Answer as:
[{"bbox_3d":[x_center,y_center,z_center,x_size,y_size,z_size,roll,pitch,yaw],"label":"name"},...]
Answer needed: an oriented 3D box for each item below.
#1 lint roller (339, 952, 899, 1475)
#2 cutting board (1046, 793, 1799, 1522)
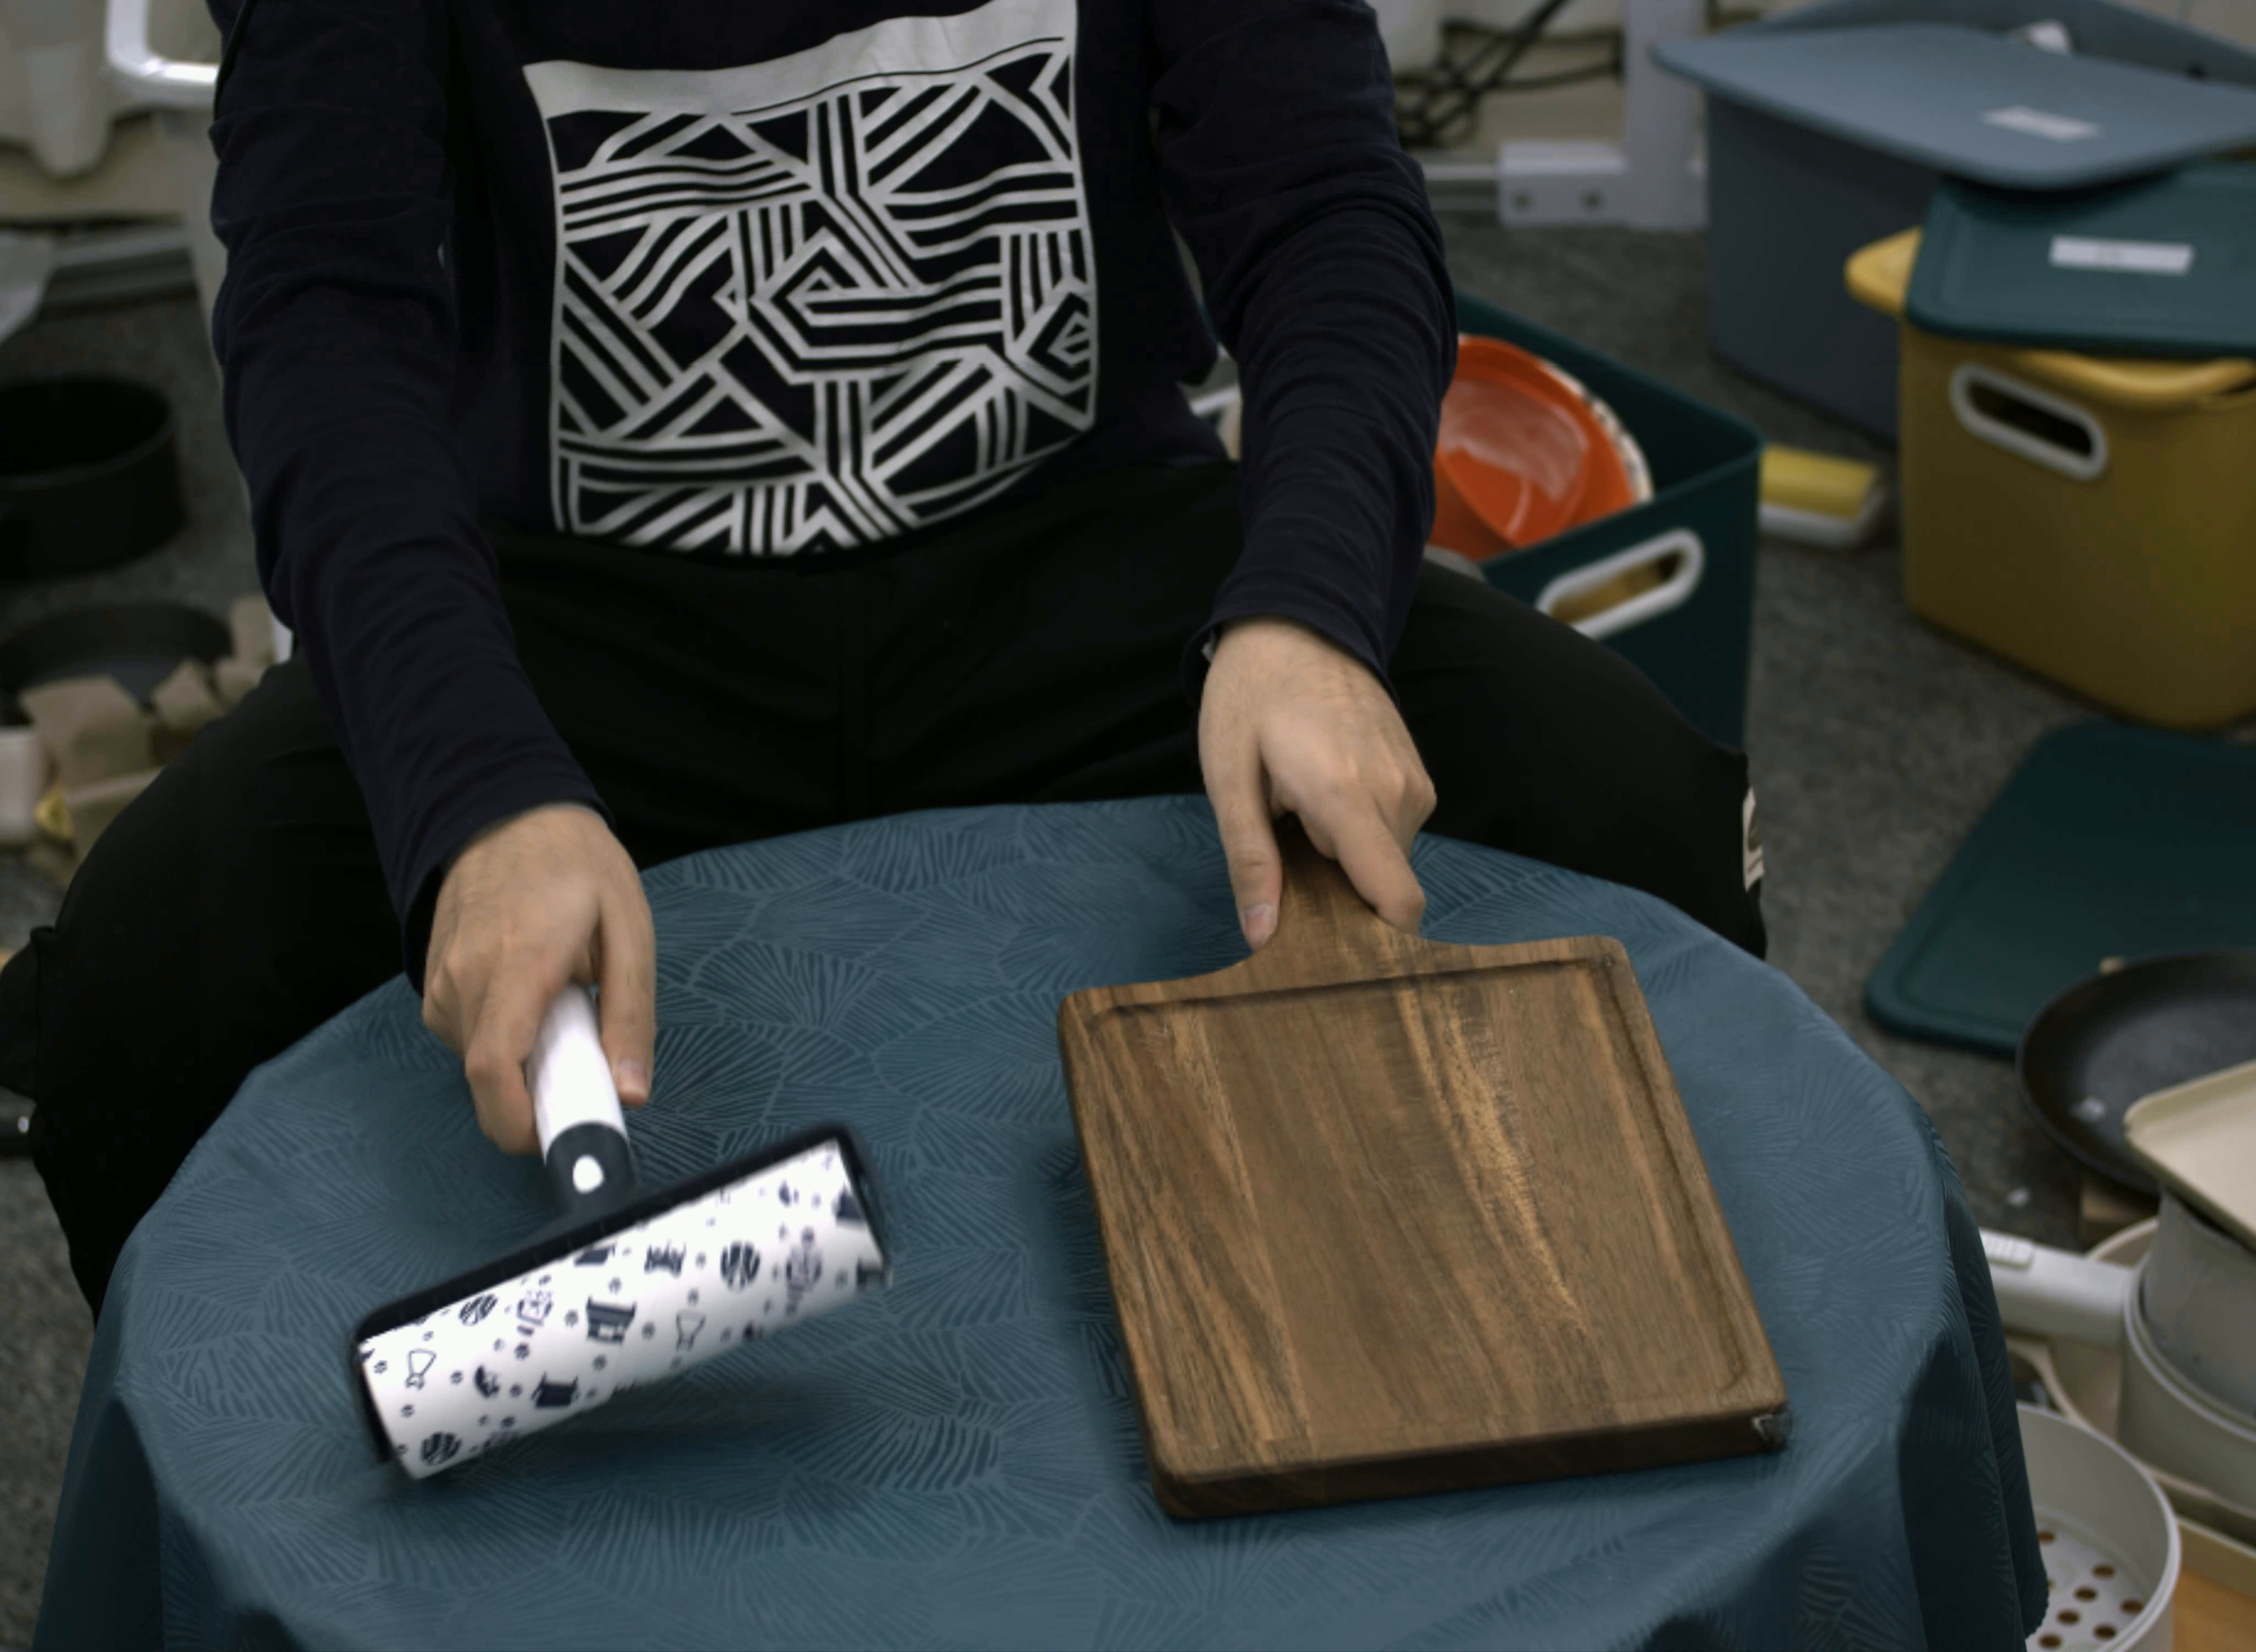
[{"bbox_3d":[-0.179,0.103,1.813,0.176,0.050,0.250,-22,31,-3],"label":"lint roller"},{"bbox_3d":[0.081,0.095,1.839,0.200,0.023,0.357,-6,34,-7],"label":"cutting board"}]
